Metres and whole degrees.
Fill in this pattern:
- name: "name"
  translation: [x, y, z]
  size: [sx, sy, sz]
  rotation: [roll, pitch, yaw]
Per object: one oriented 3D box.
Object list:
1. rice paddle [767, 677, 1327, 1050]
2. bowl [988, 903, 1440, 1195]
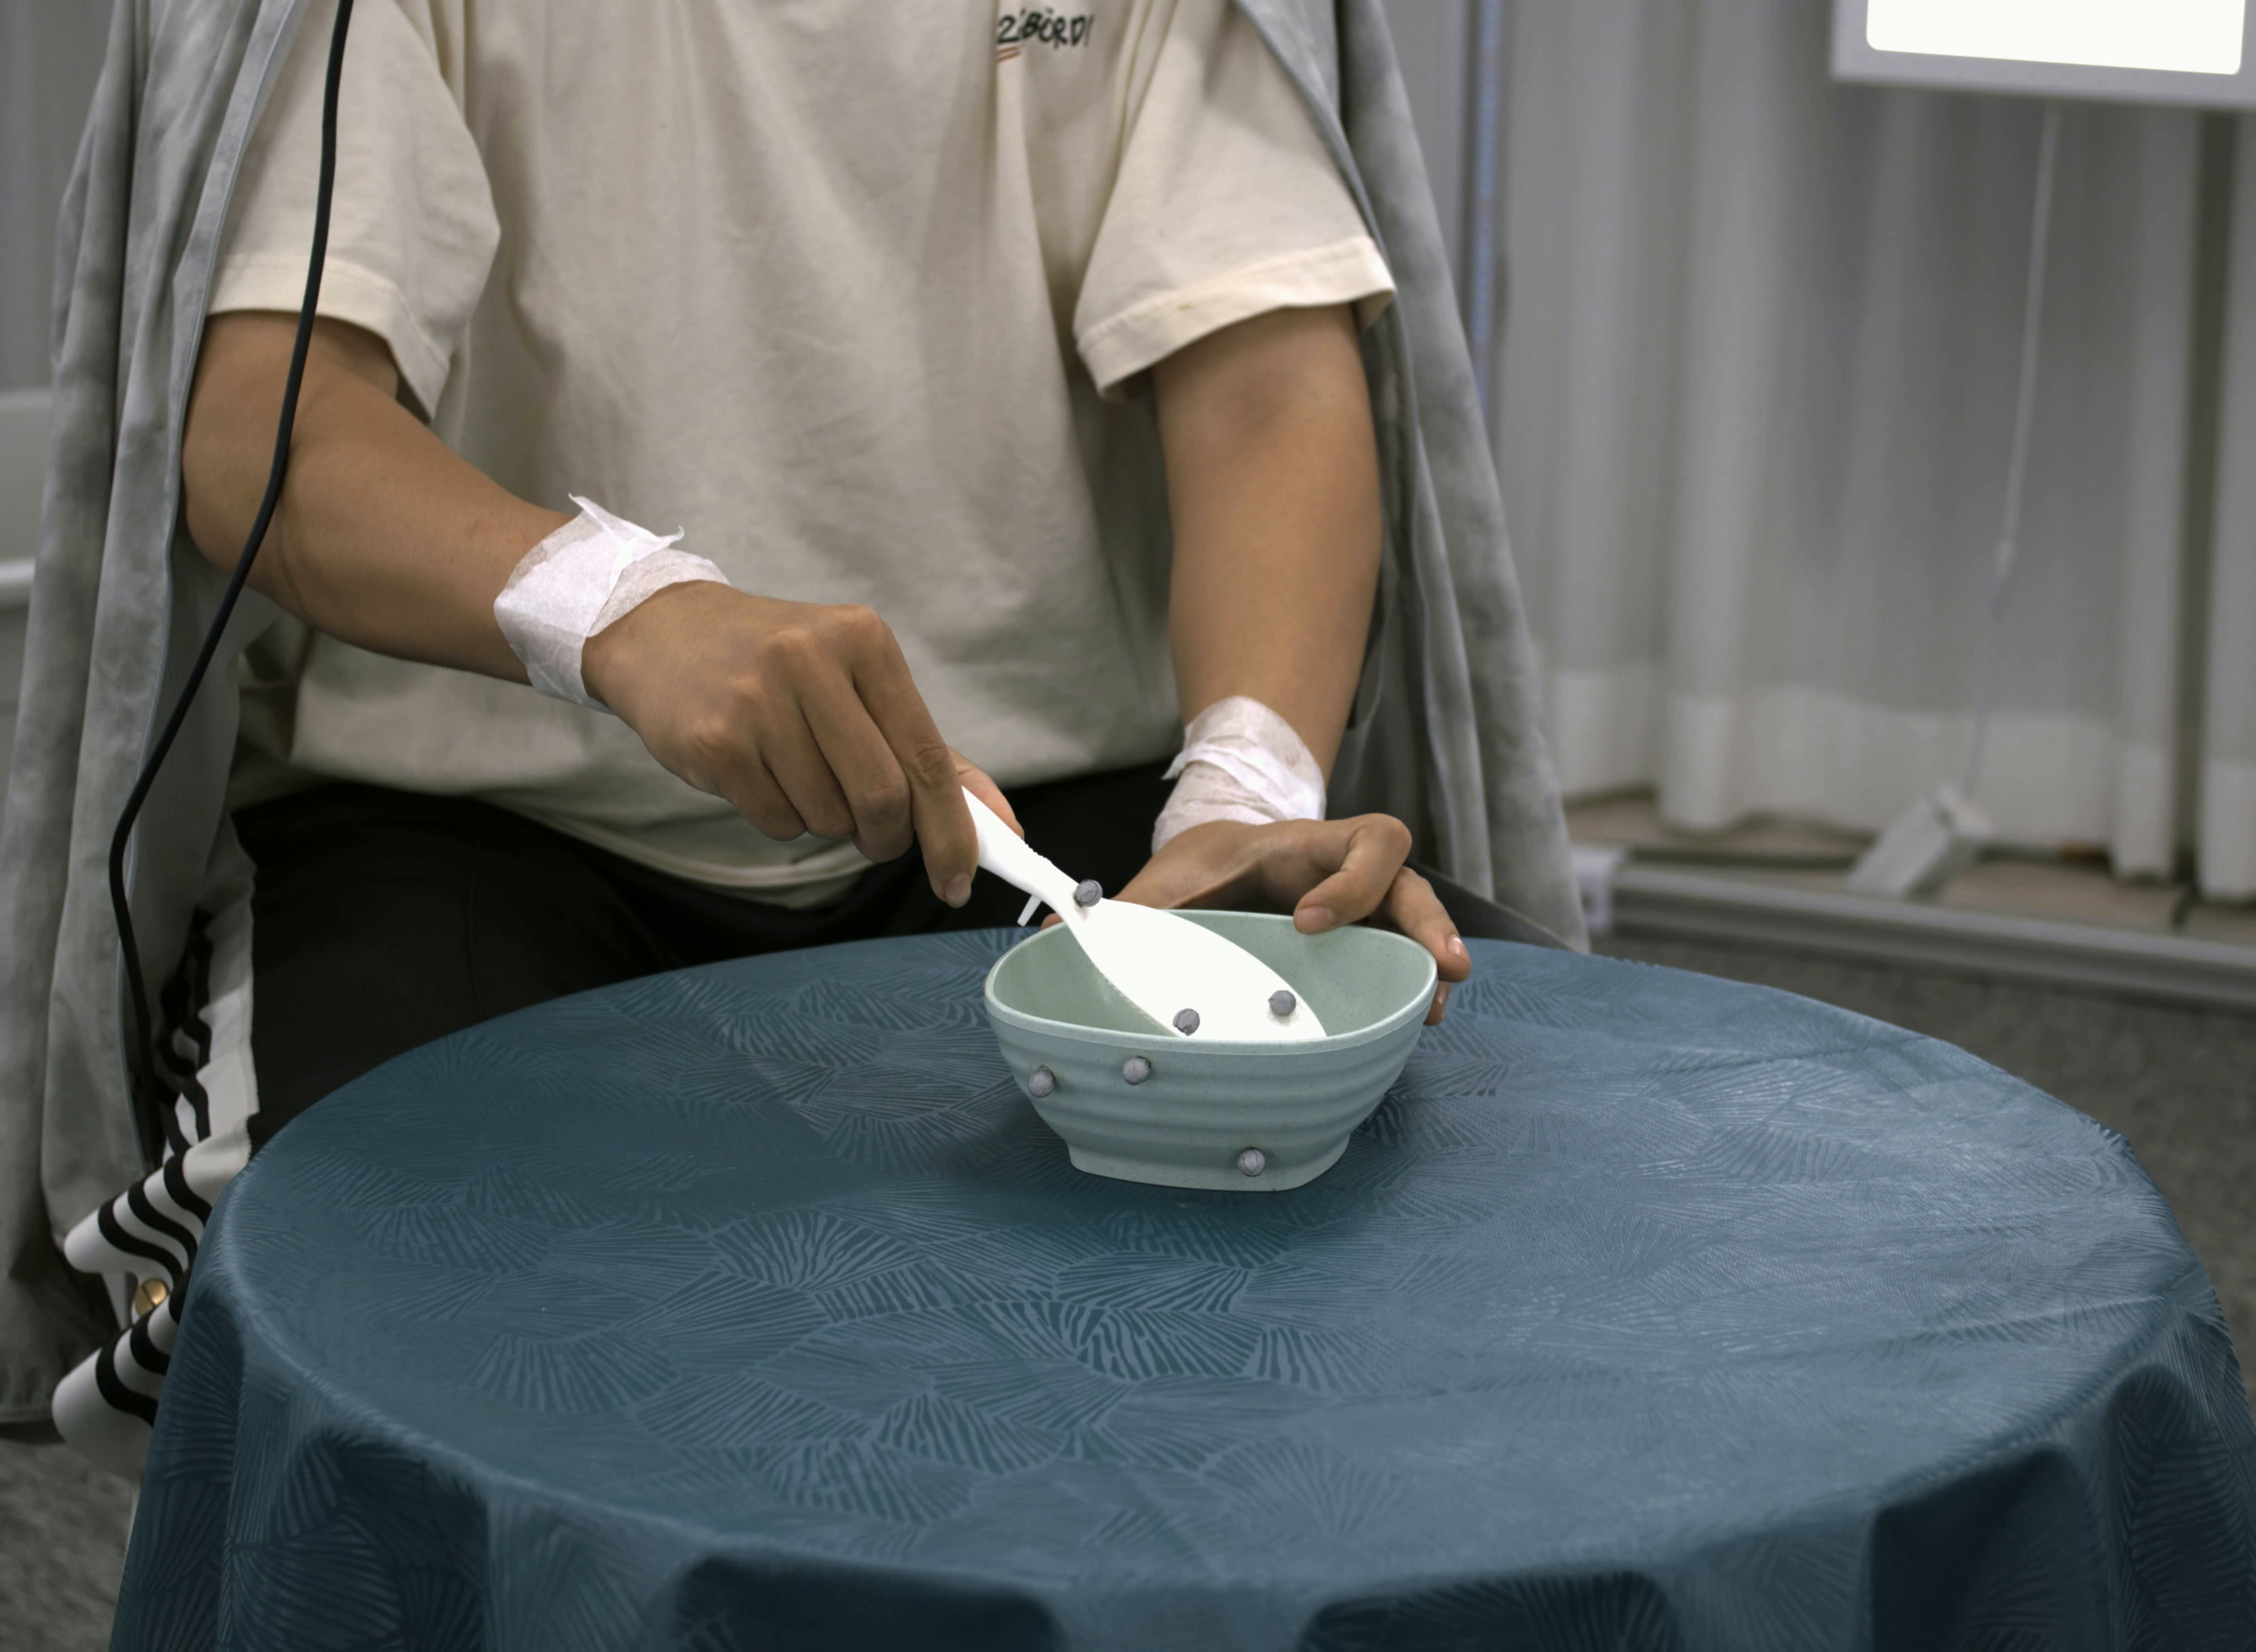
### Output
- name: "rice paddle"
  translation: [-0.020, 0.020, 1.663]
  size: [0.205, 0.029, 0.068]
  rotation: [33, 30, -1]
- name: "bowl"
  translation: [0.028, 0.073, 1.660]
  size: [0.151, 0.059, 0.150]
  rotation: [-1, 18, 1]
